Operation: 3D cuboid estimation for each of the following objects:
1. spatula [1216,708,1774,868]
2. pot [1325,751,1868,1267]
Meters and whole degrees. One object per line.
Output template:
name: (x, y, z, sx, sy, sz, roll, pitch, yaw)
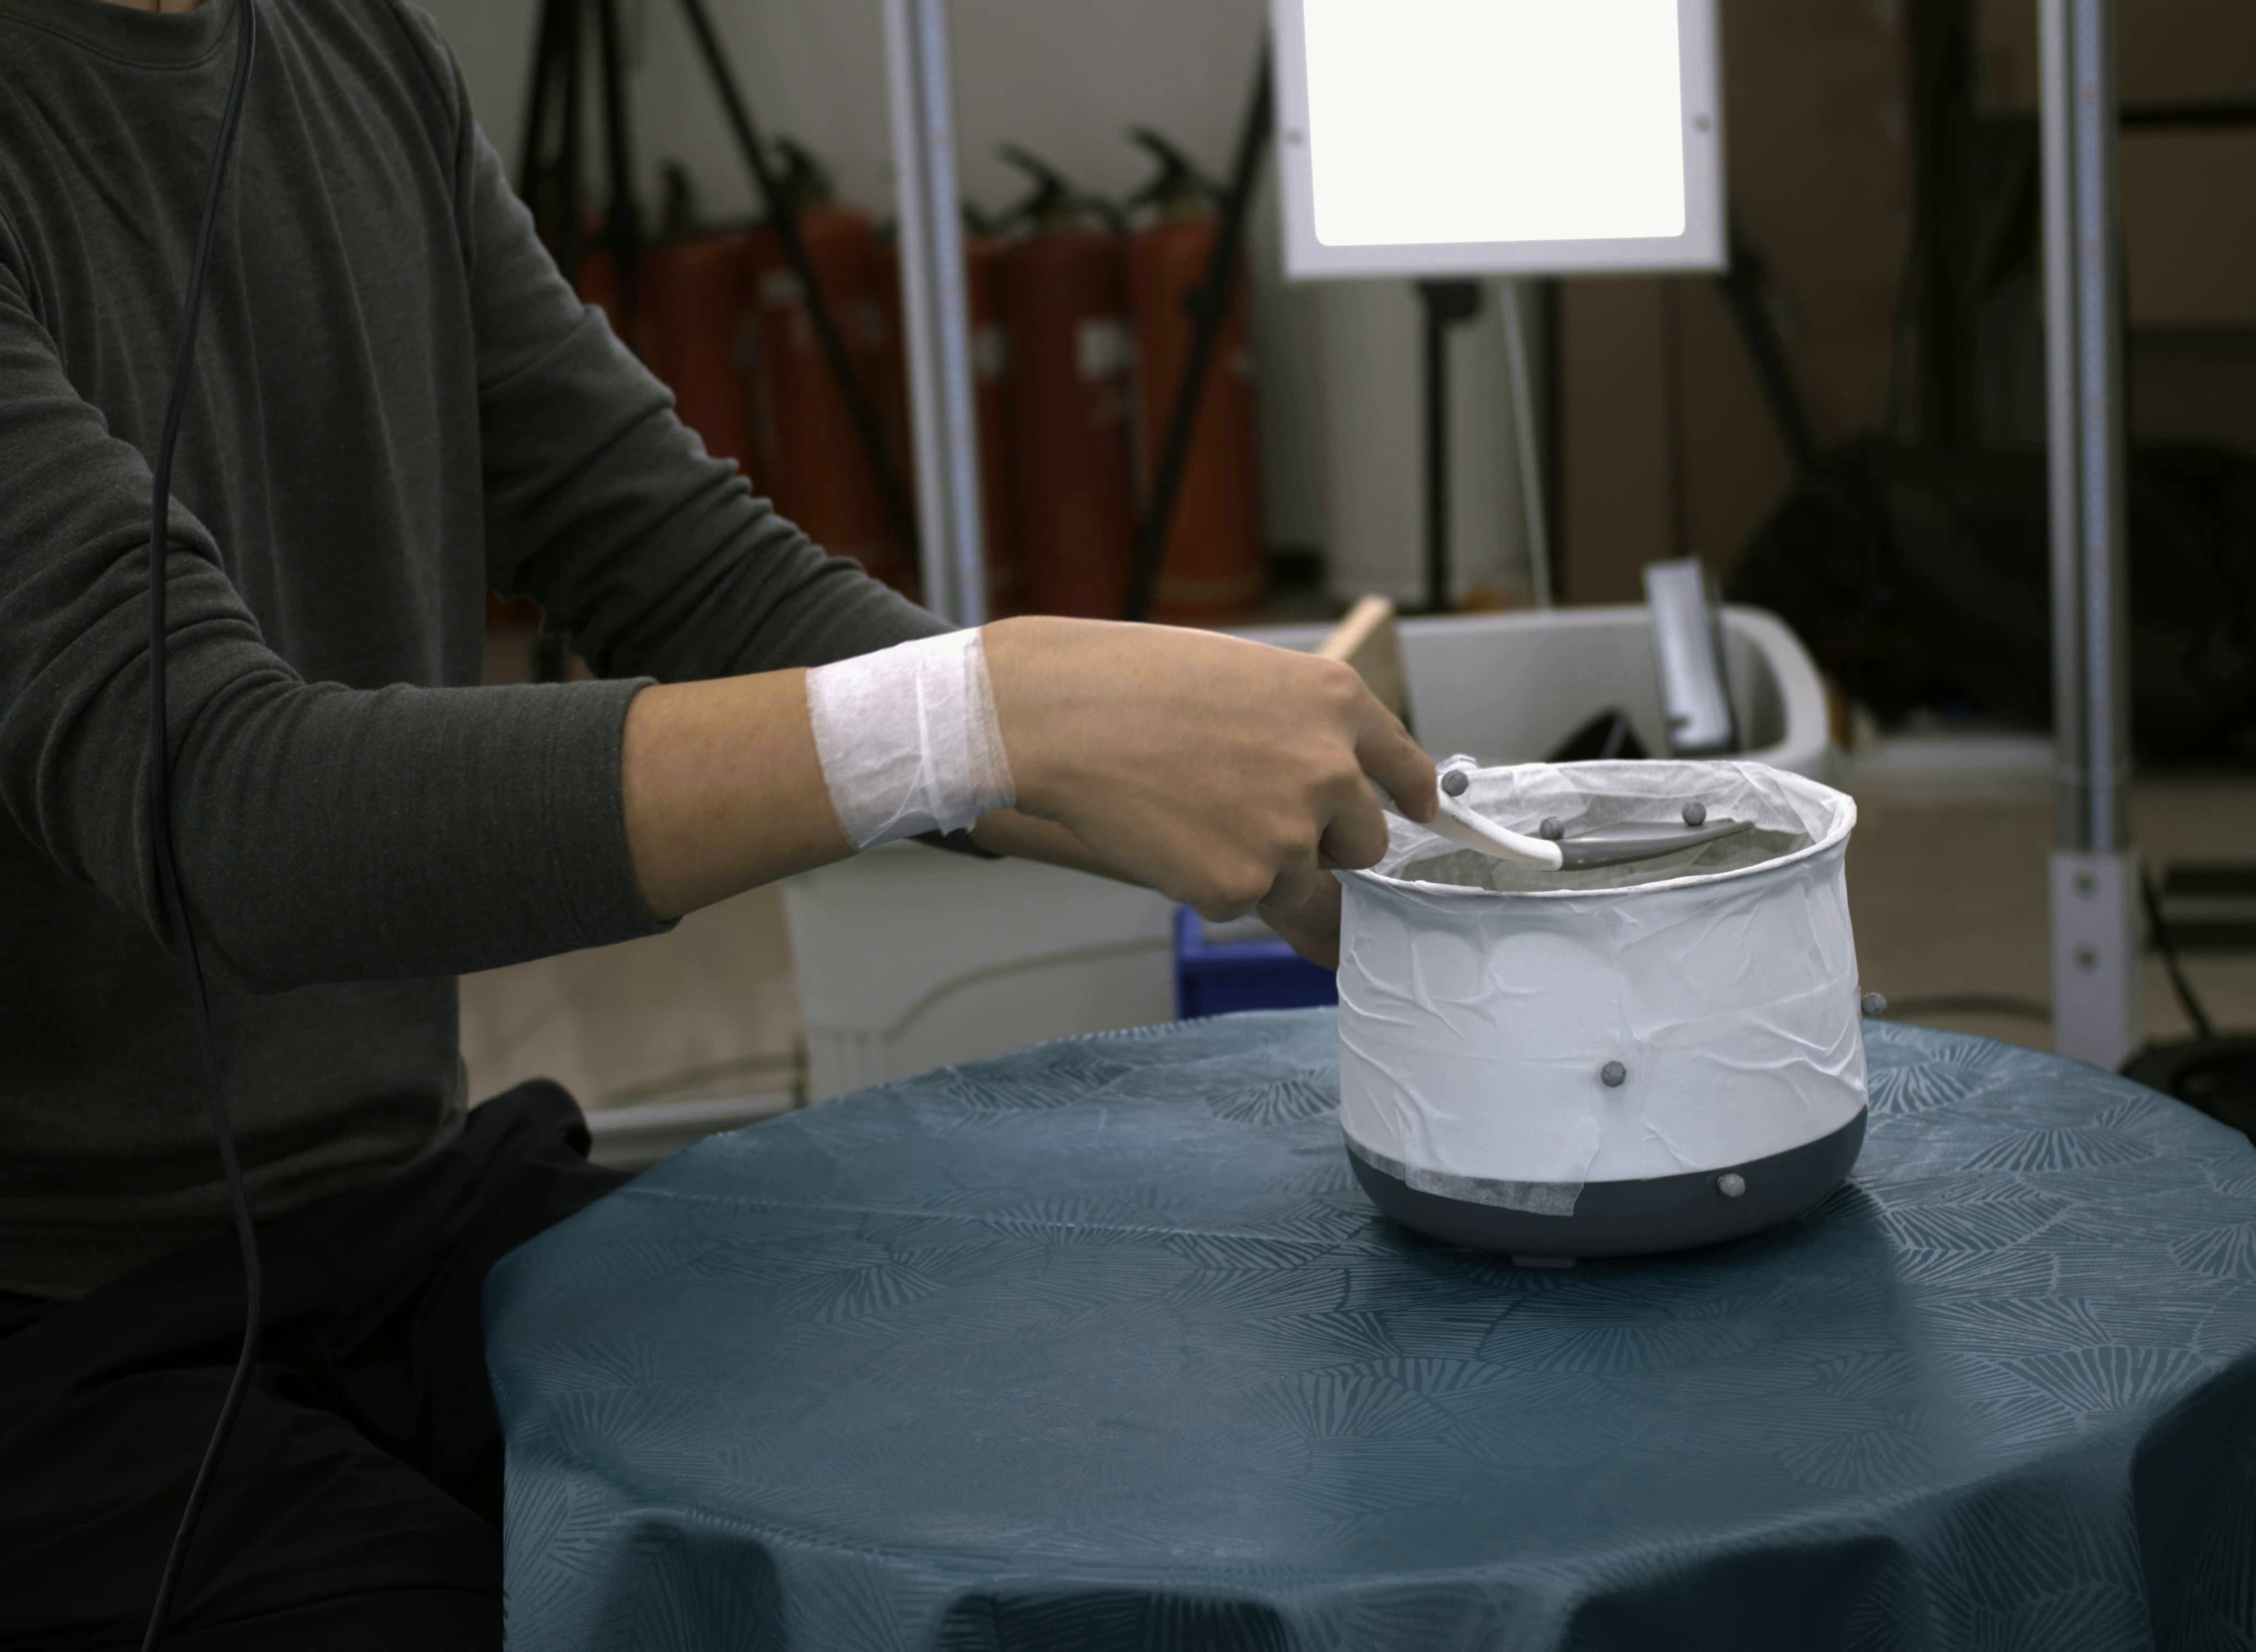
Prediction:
spatula: (0.118, -0.006, 1.753, 0.060, 0.032, 0.281, -4, -8, 35)
pot: (0.146, 0.054, 1.852, 0.175, 0.137, 0.237, -10, 15, -21)
